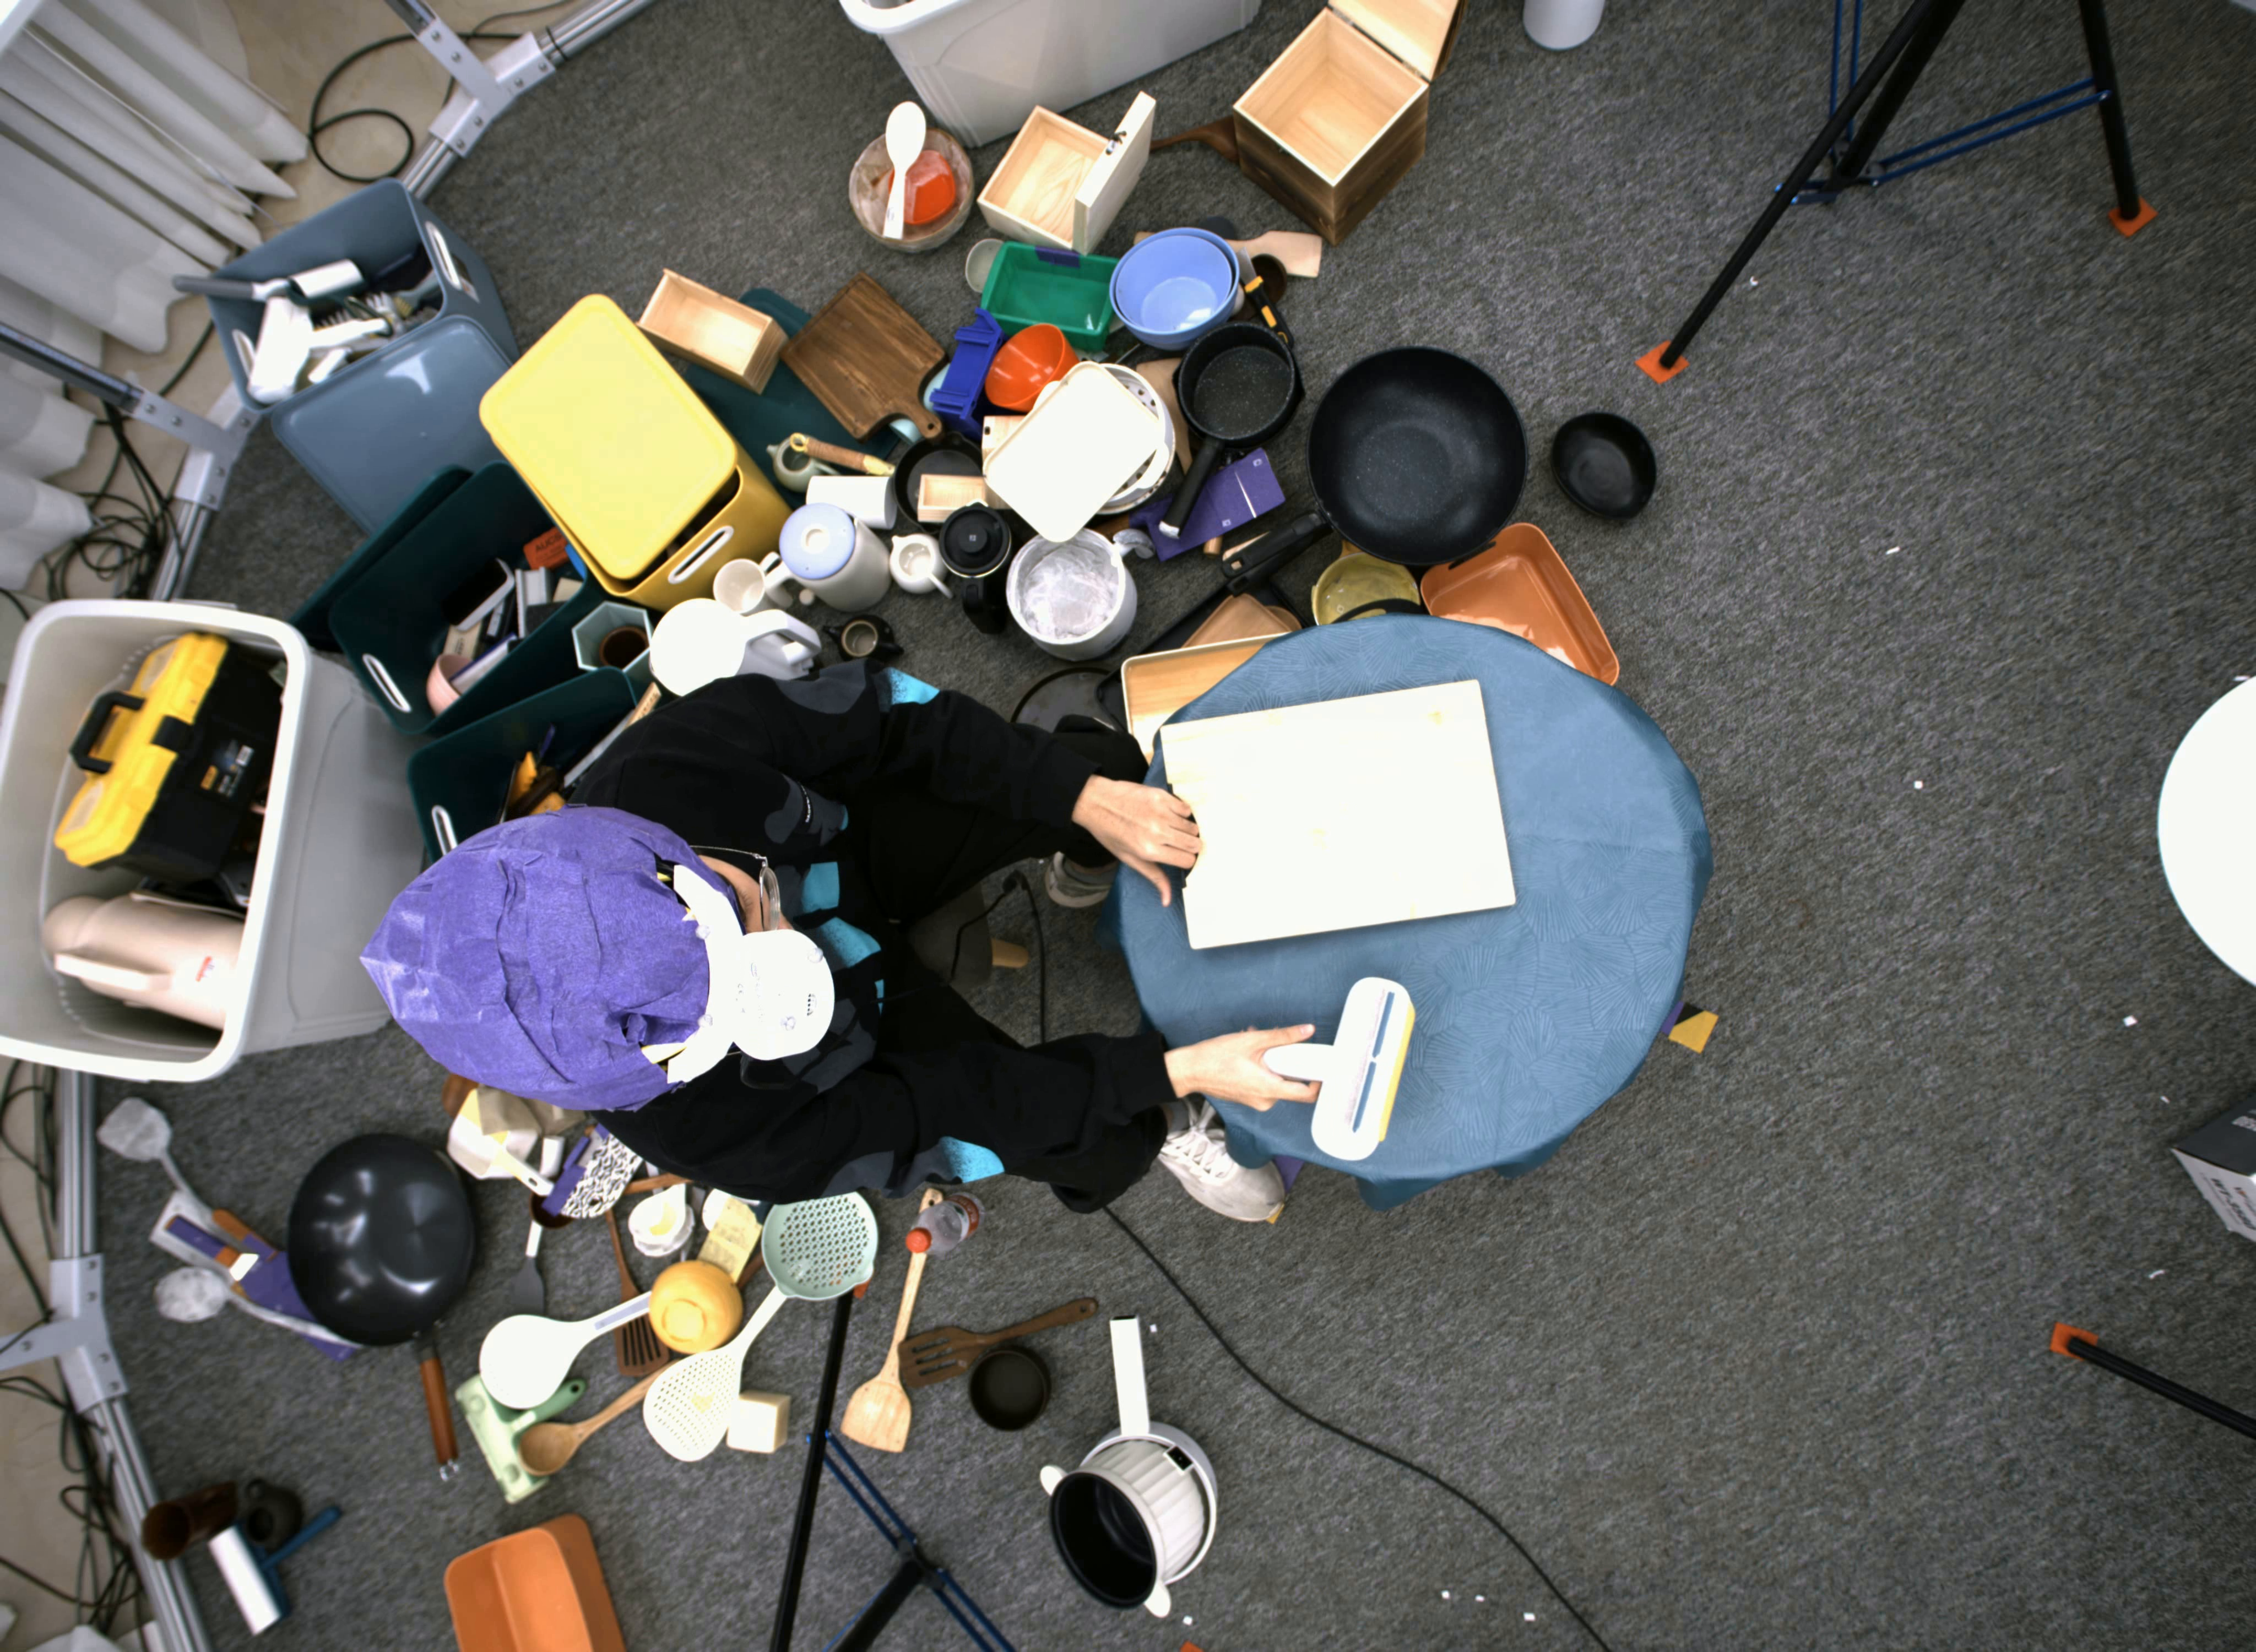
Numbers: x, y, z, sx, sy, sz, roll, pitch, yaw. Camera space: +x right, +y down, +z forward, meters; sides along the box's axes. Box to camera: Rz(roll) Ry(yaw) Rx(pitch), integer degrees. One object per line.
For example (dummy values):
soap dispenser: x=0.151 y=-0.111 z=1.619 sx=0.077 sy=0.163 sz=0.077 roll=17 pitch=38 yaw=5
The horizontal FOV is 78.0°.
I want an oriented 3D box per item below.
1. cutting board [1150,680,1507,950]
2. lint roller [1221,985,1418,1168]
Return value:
cutting board: x=0.211 y=-0.013 z=1.446 sx=0.349 sy=0.023 sz=0.249 roll=-9 pitch=86 yaw=4
lint roller: x=0.180 y=0.238 z=1.390 sx=0.193 sy=0.075 sz=0.188 roll=10 pitch=61 yaw=25
